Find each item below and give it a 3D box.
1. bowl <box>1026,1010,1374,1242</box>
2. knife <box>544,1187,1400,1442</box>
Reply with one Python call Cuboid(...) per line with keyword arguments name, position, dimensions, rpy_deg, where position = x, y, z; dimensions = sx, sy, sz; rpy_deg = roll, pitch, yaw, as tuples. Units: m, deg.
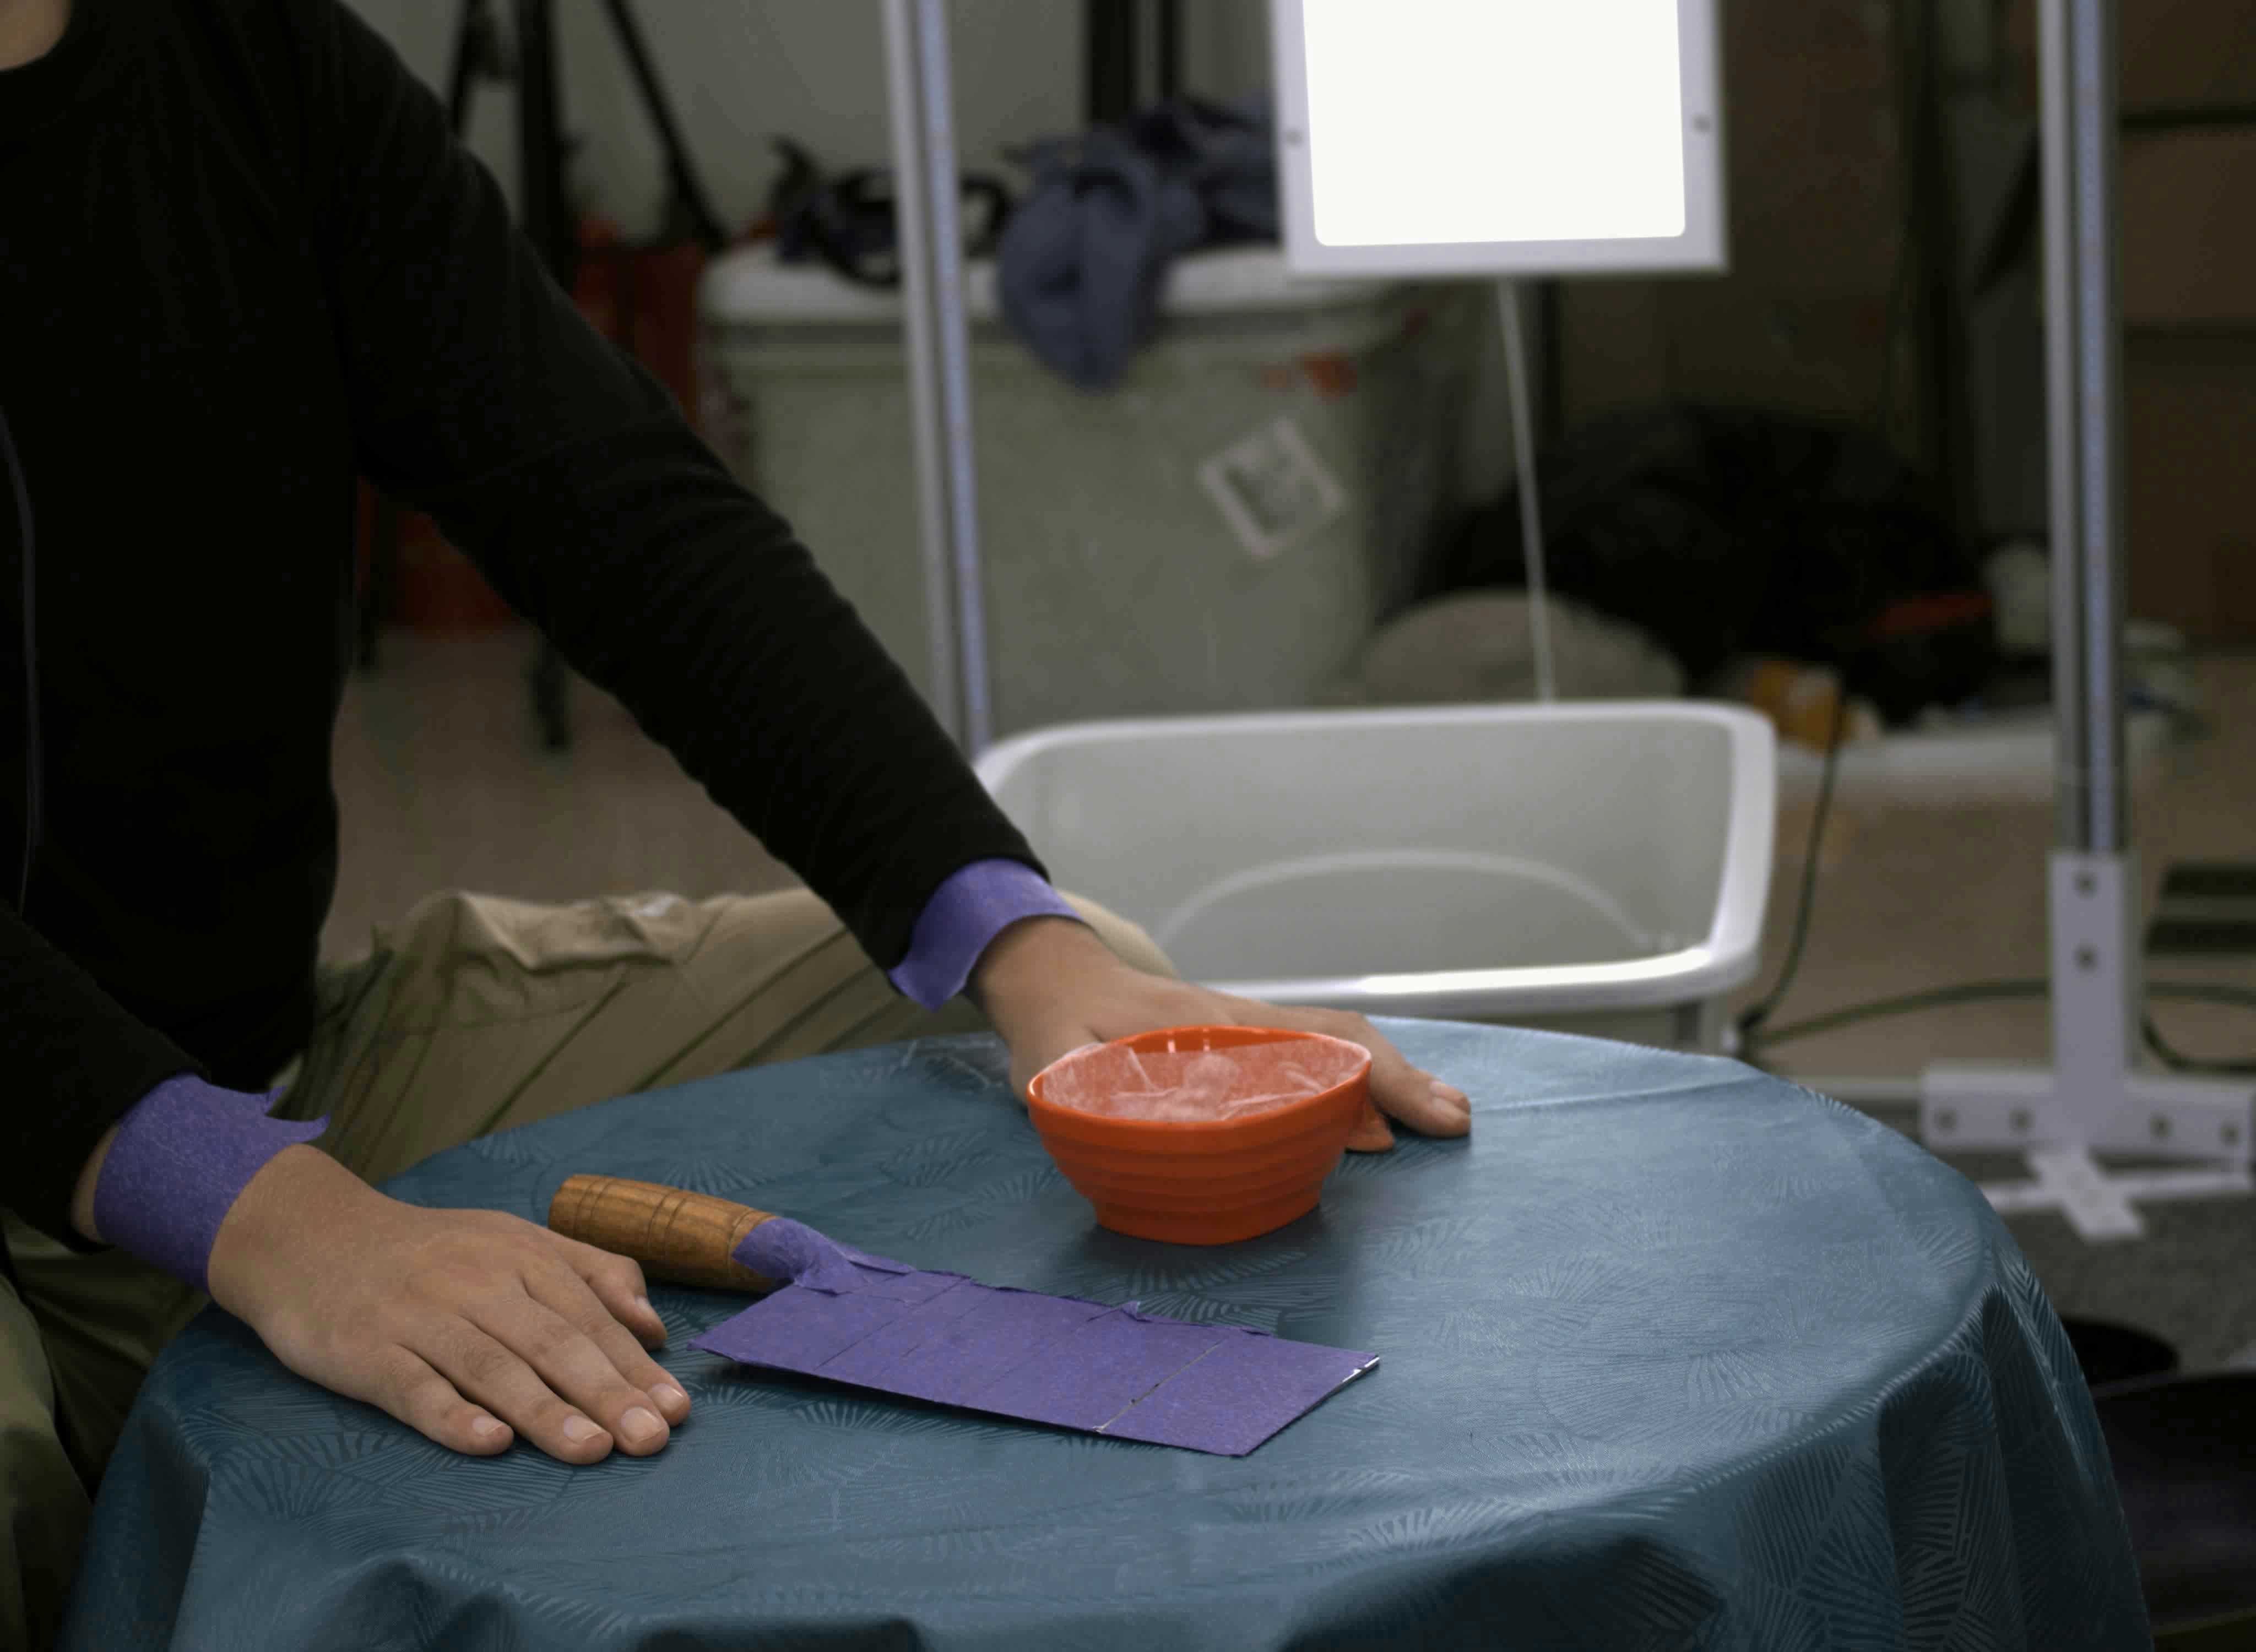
Cuboid(name="bowl", position=(0.026, 0.104, 1.863), dimensions=(0.118, 0.051, 0.119), rpy_deg=(-4, 17, 0))
Cuboid(name="knife", position=(-0.072, 0.155, 1.756), dimensions=(0.321, 0.032, 0.101), rpy_deg=(5, 16, 33))
